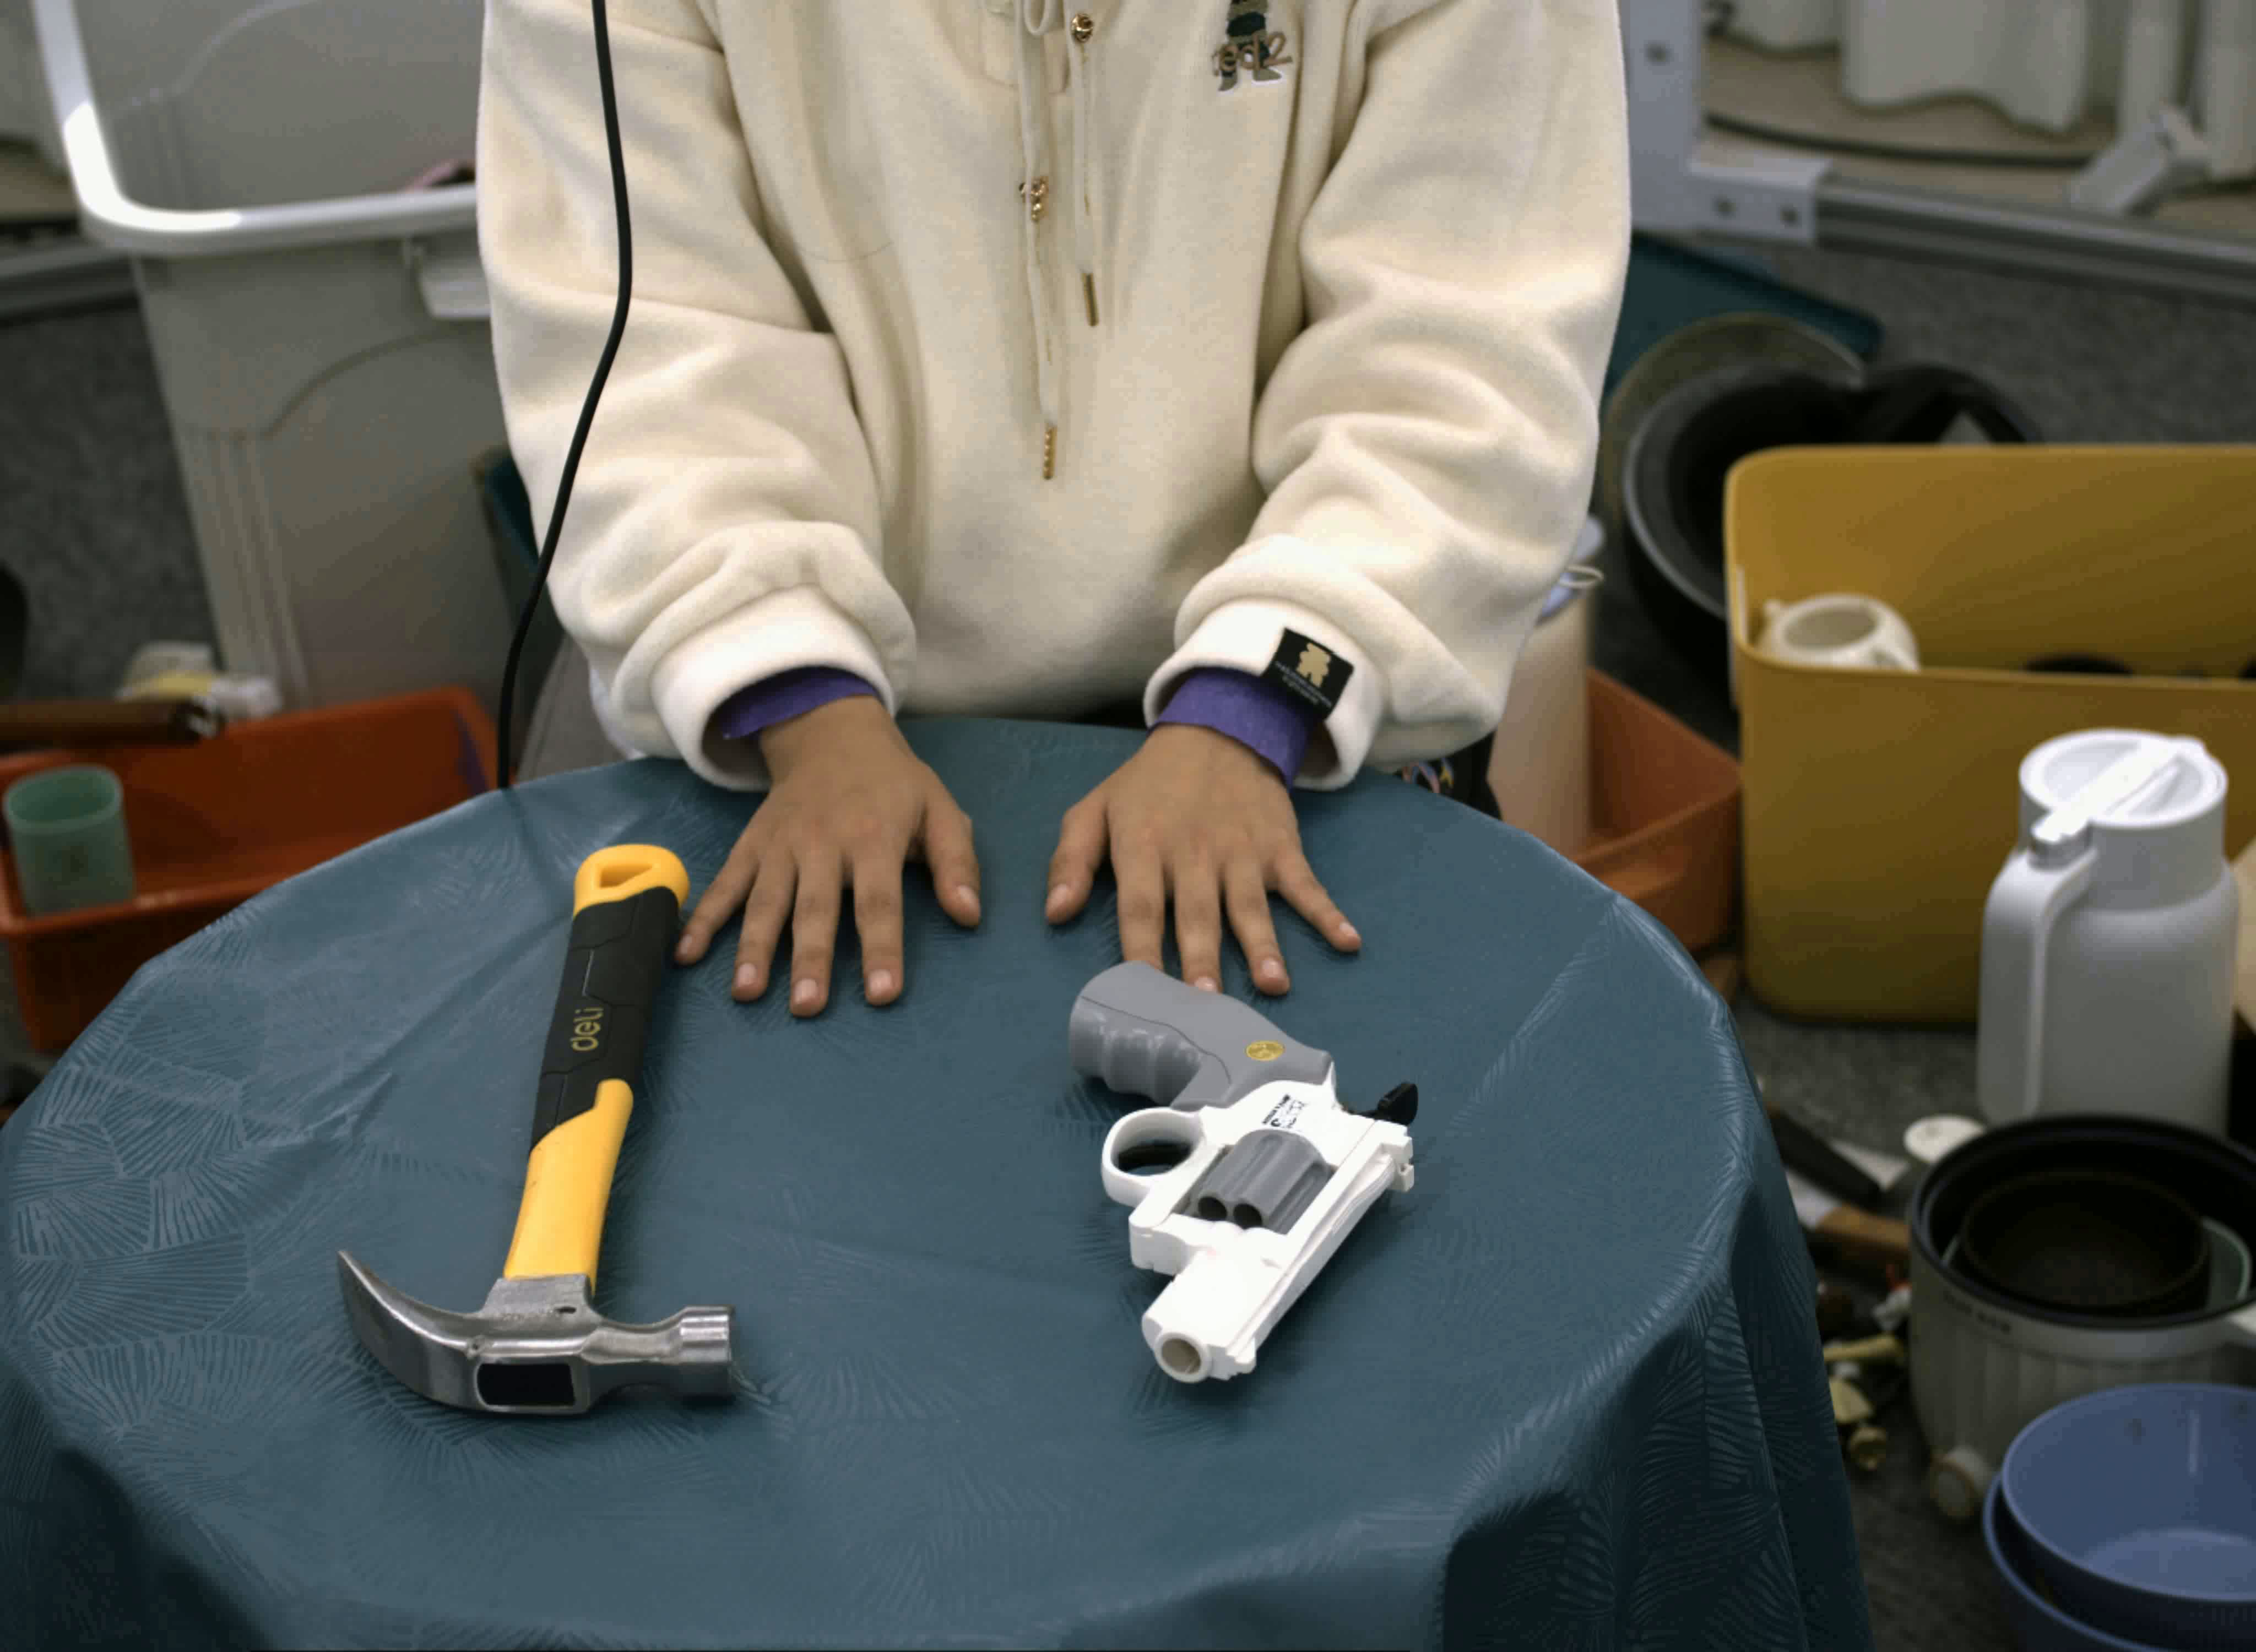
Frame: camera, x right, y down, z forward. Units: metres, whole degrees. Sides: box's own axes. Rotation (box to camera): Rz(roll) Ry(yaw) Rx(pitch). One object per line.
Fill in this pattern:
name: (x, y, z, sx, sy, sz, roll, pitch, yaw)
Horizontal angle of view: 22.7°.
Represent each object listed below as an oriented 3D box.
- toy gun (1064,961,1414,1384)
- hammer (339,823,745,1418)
toy gun: (0.019, 0.111, 1.838, 0.141, 0.038, 0.212, 9, 30, 21)
hammer: (-0.184, 0.091, 1.895, 0.131, 0.032, 0.344, -3, 29, 3)
